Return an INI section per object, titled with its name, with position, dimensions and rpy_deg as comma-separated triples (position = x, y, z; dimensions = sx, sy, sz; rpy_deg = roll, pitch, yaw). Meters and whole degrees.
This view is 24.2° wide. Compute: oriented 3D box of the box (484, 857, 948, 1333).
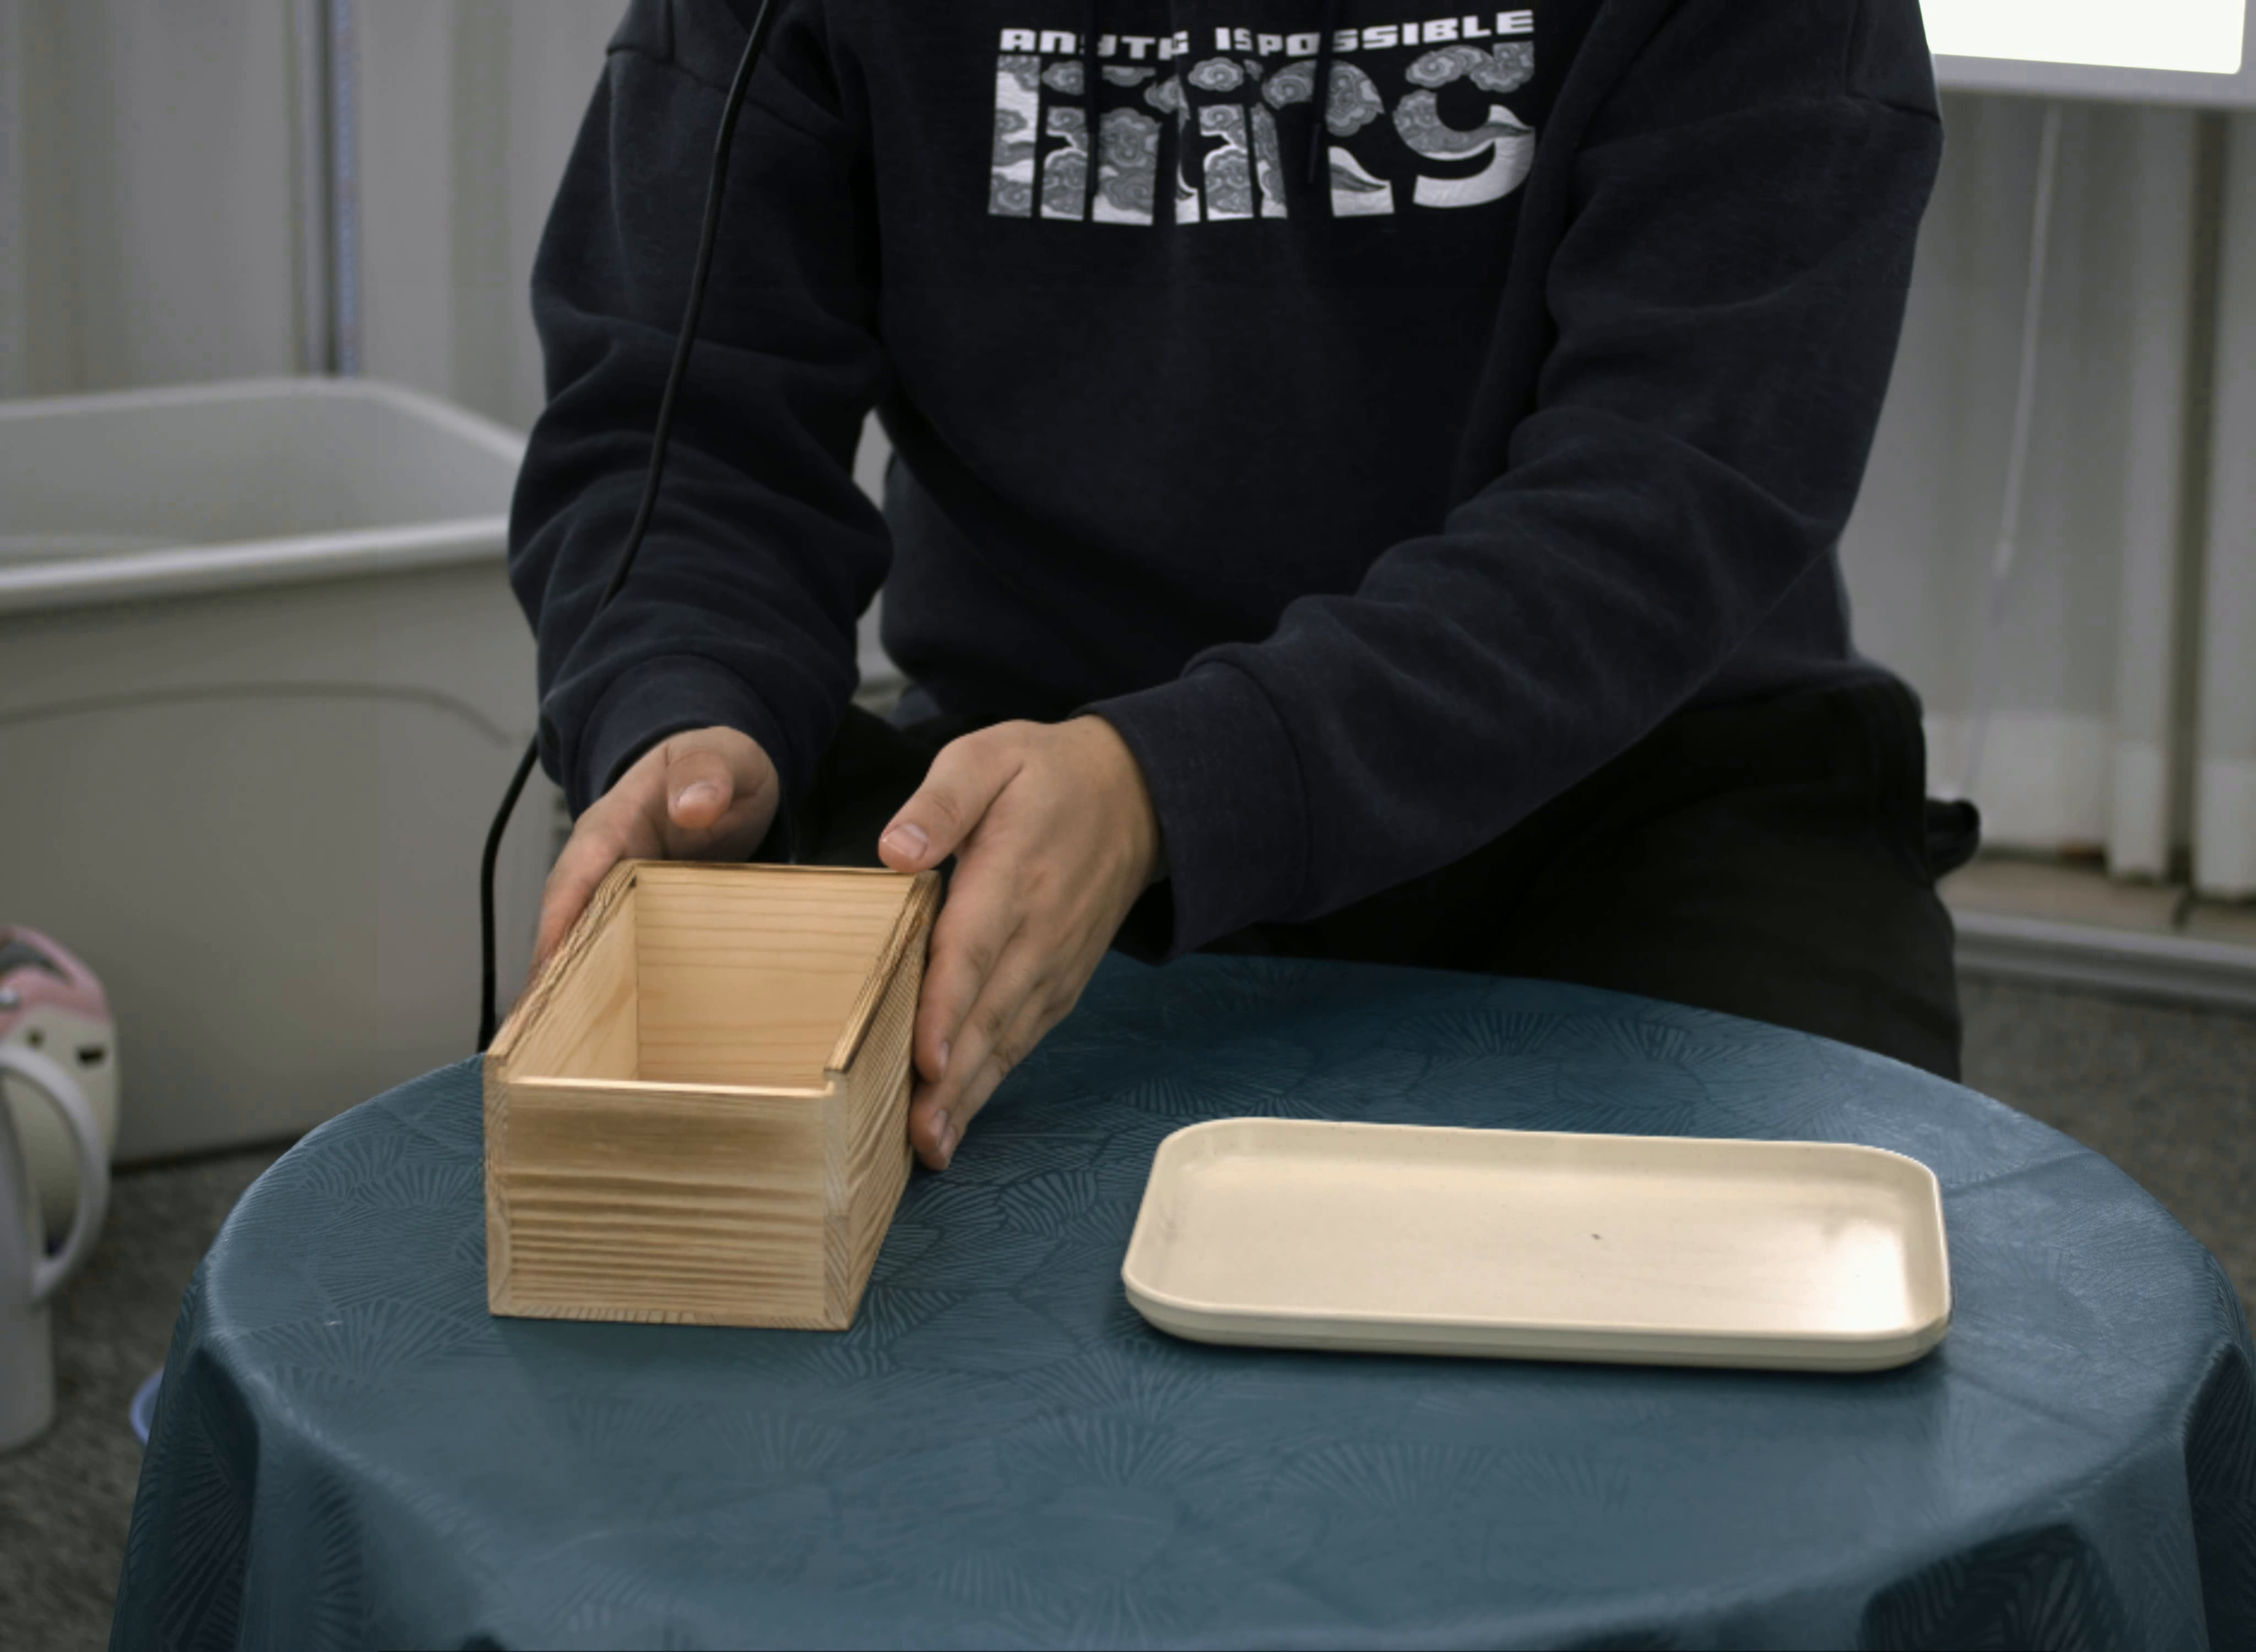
[box]
position = -0.121, 0.077, 1.597
dimensions = 0.107, 0.081, 0.210
rpy_deg = 2, 15, 5

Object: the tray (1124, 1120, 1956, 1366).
[tray]
position = 0.122, 0.123, 1.560
dimensions = 0.238, 0.017, 0.170
rpy_deg = 2, 15, 5
